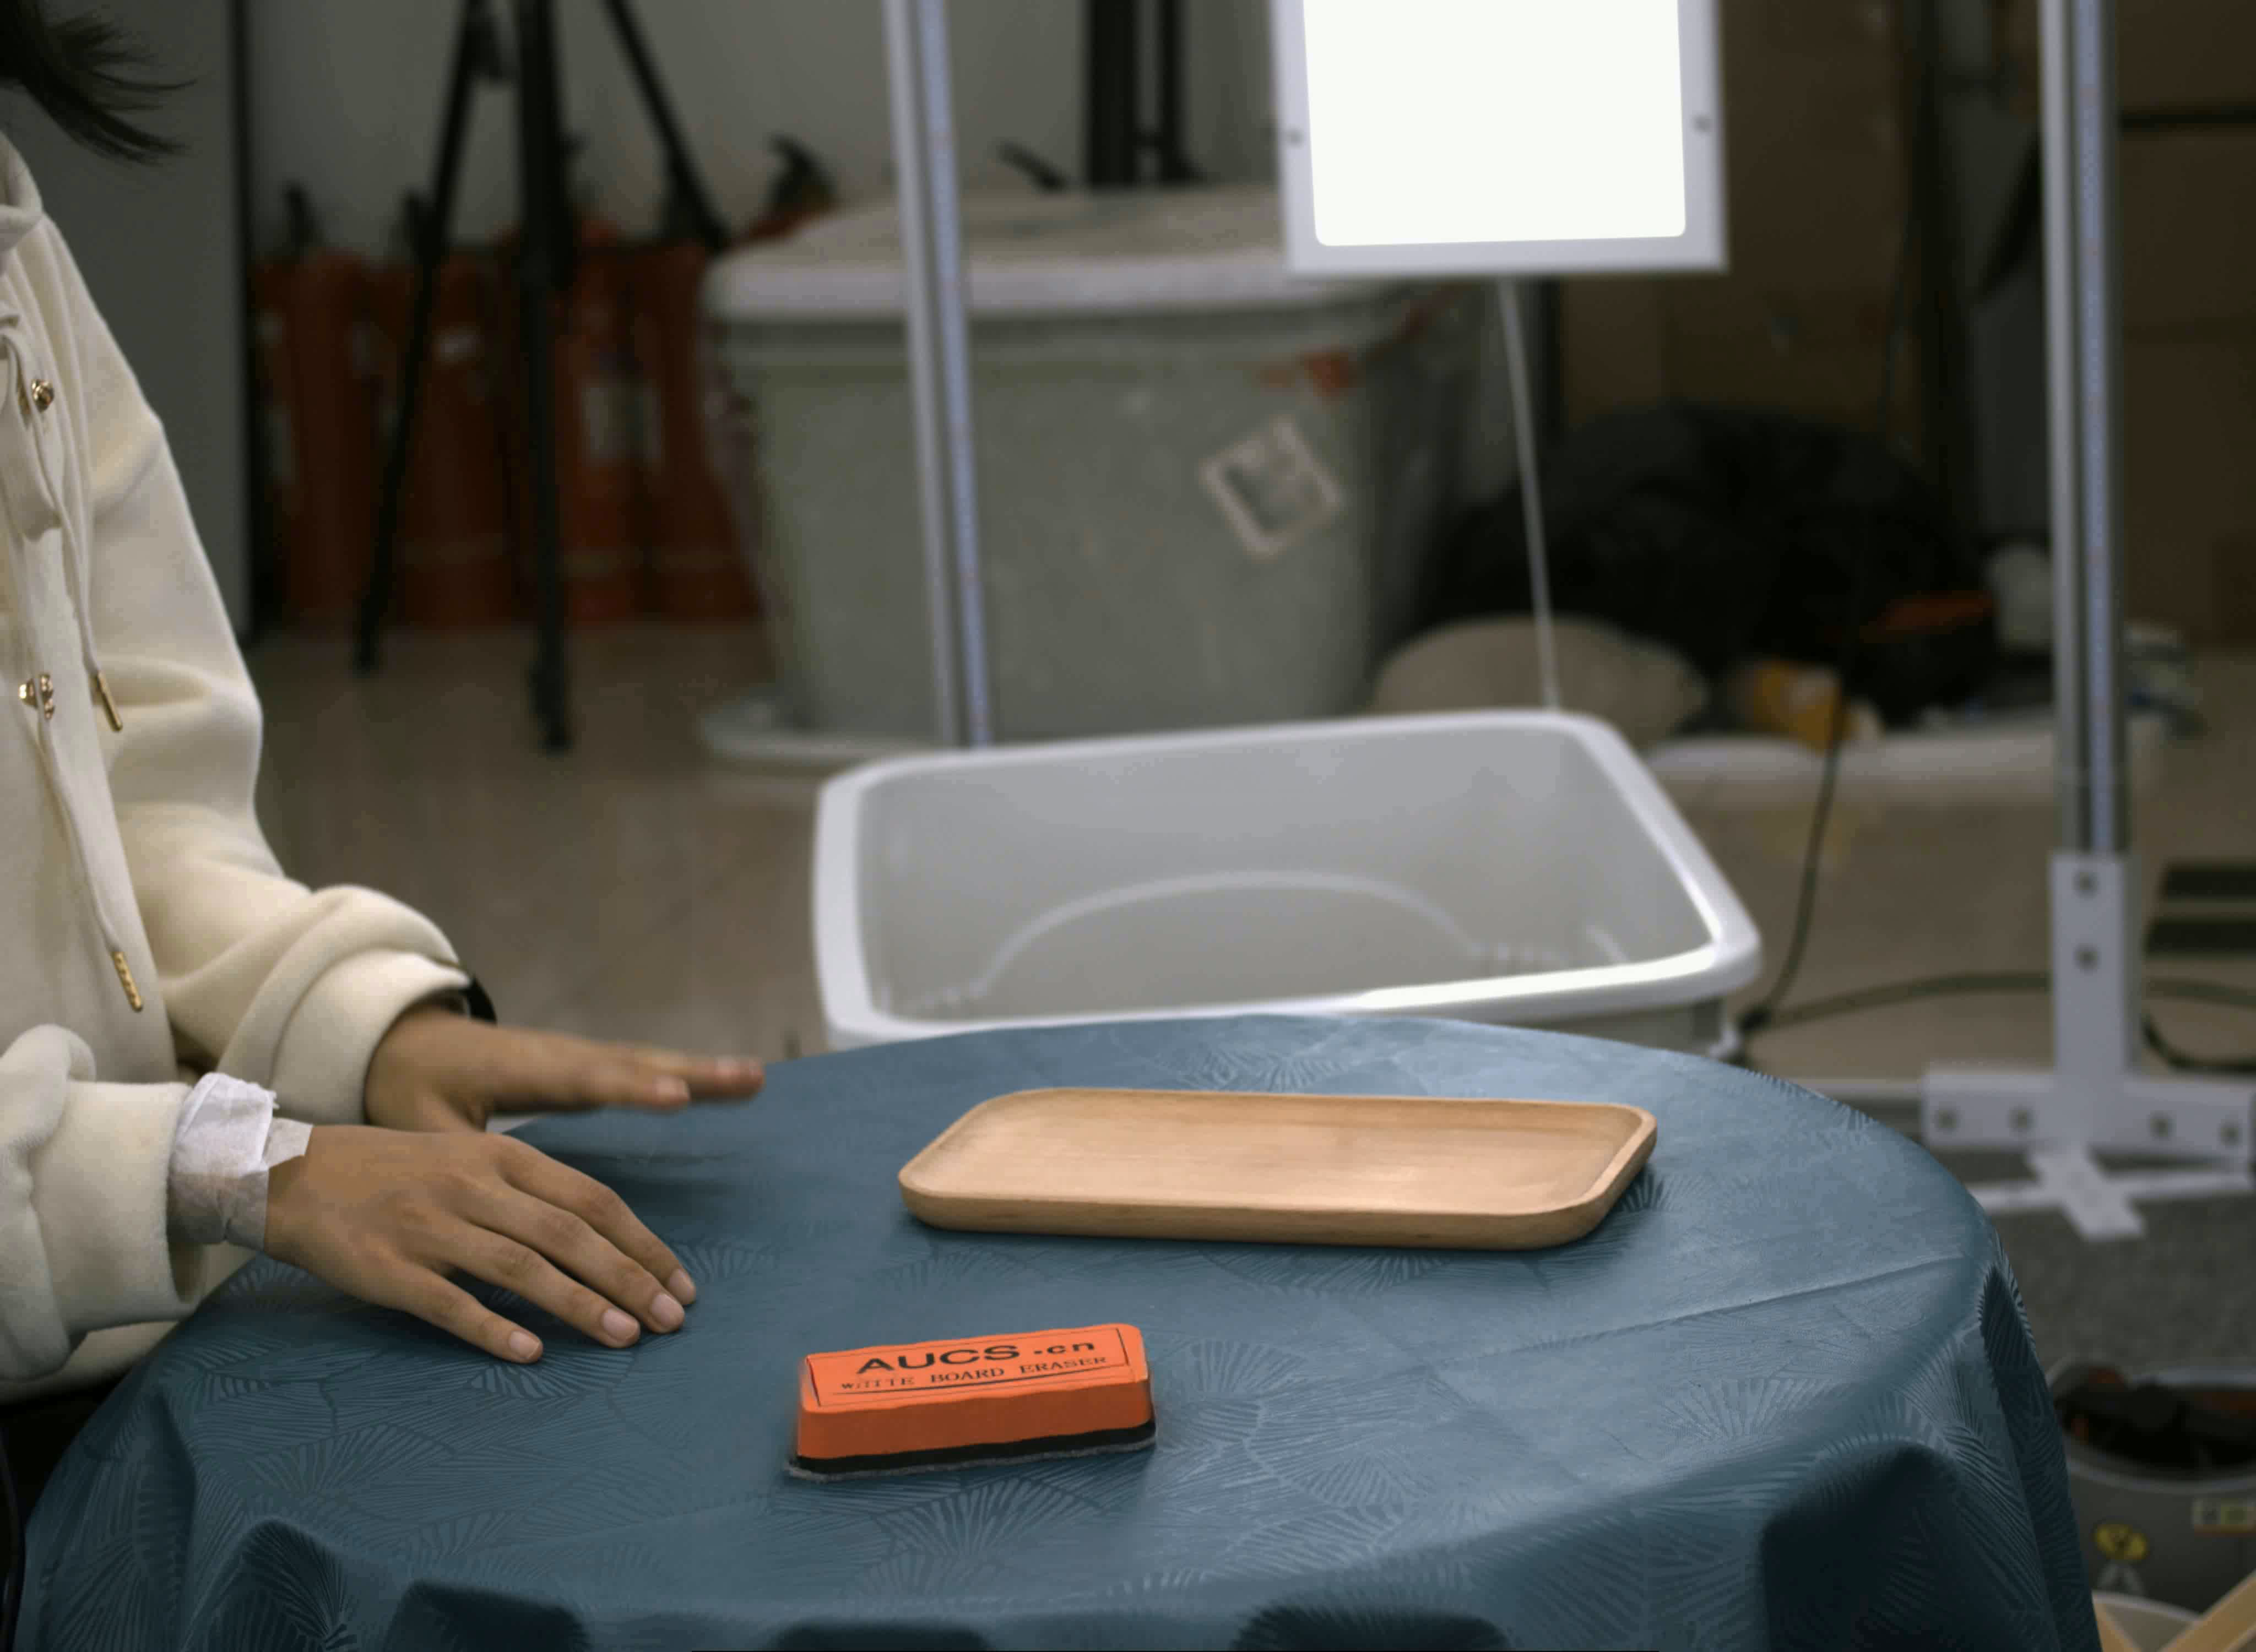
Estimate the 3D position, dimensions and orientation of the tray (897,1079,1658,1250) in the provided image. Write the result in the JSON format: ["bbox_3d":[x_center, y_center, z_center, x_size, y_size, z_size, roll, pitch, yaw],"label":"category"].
[{"bbox_3d":[0.051,0.115,1.887,0.254,0.023,0.128,0,12,23],"label":"tray"}]

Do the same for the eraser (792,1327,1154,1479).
[{"bbox_3d":[-0.047,0.175,1.670,0.107,0.023,0.059,-5,15,-1],"label":"eraser"}]
